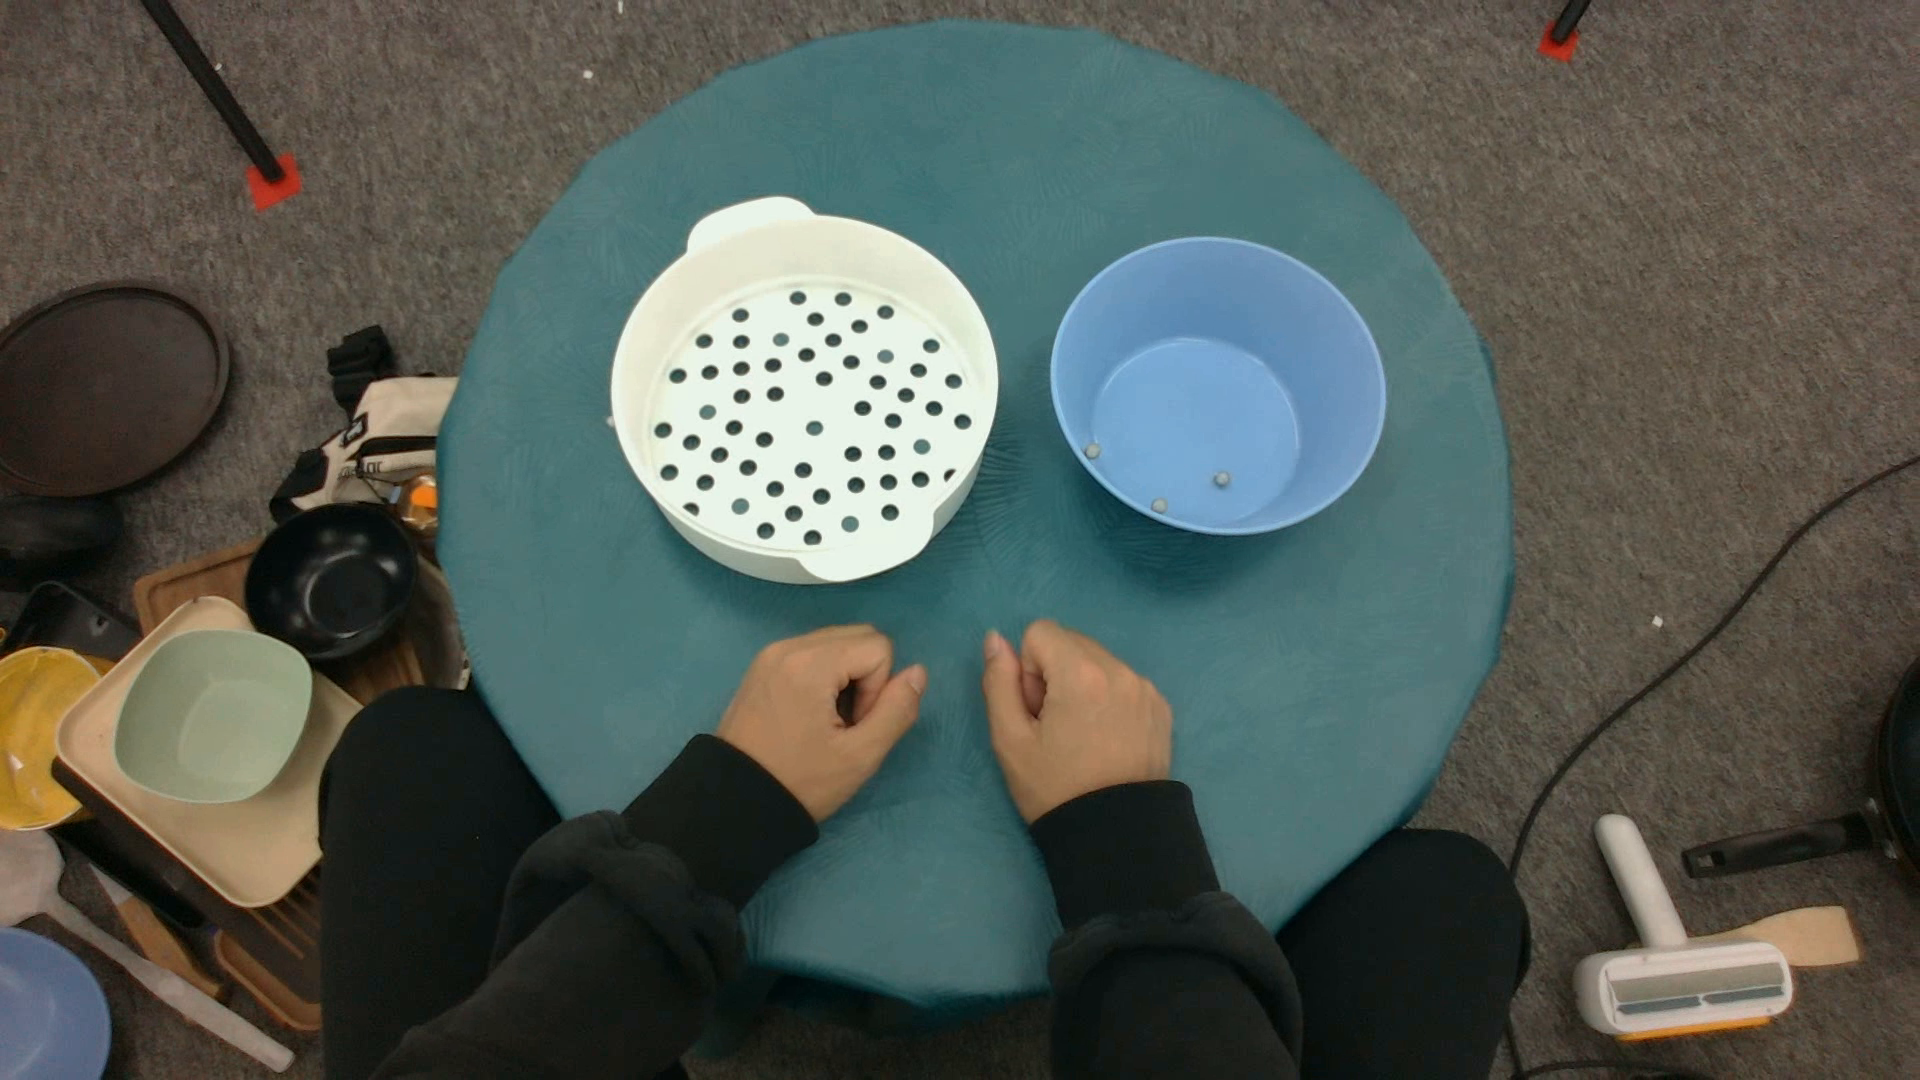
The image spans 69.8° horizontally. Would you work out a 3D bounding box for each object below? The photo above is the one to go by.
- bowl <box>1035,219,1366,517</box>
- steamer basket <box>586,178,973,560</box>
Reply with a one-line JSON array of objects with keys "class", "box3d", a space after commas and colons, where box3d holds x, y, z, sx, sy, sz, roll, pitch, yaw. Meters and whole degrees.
[{"class": "bowl", "box3d": [0.126, -0.083, 0.754, 0.176, 0.070, 0.176, 1, 69, -2]}, {"class": "steamer basket", "box3d": [-0.094, -0.087, 0.745, 0.202, 0.069, 0.231, -20, 69, -10]}]
